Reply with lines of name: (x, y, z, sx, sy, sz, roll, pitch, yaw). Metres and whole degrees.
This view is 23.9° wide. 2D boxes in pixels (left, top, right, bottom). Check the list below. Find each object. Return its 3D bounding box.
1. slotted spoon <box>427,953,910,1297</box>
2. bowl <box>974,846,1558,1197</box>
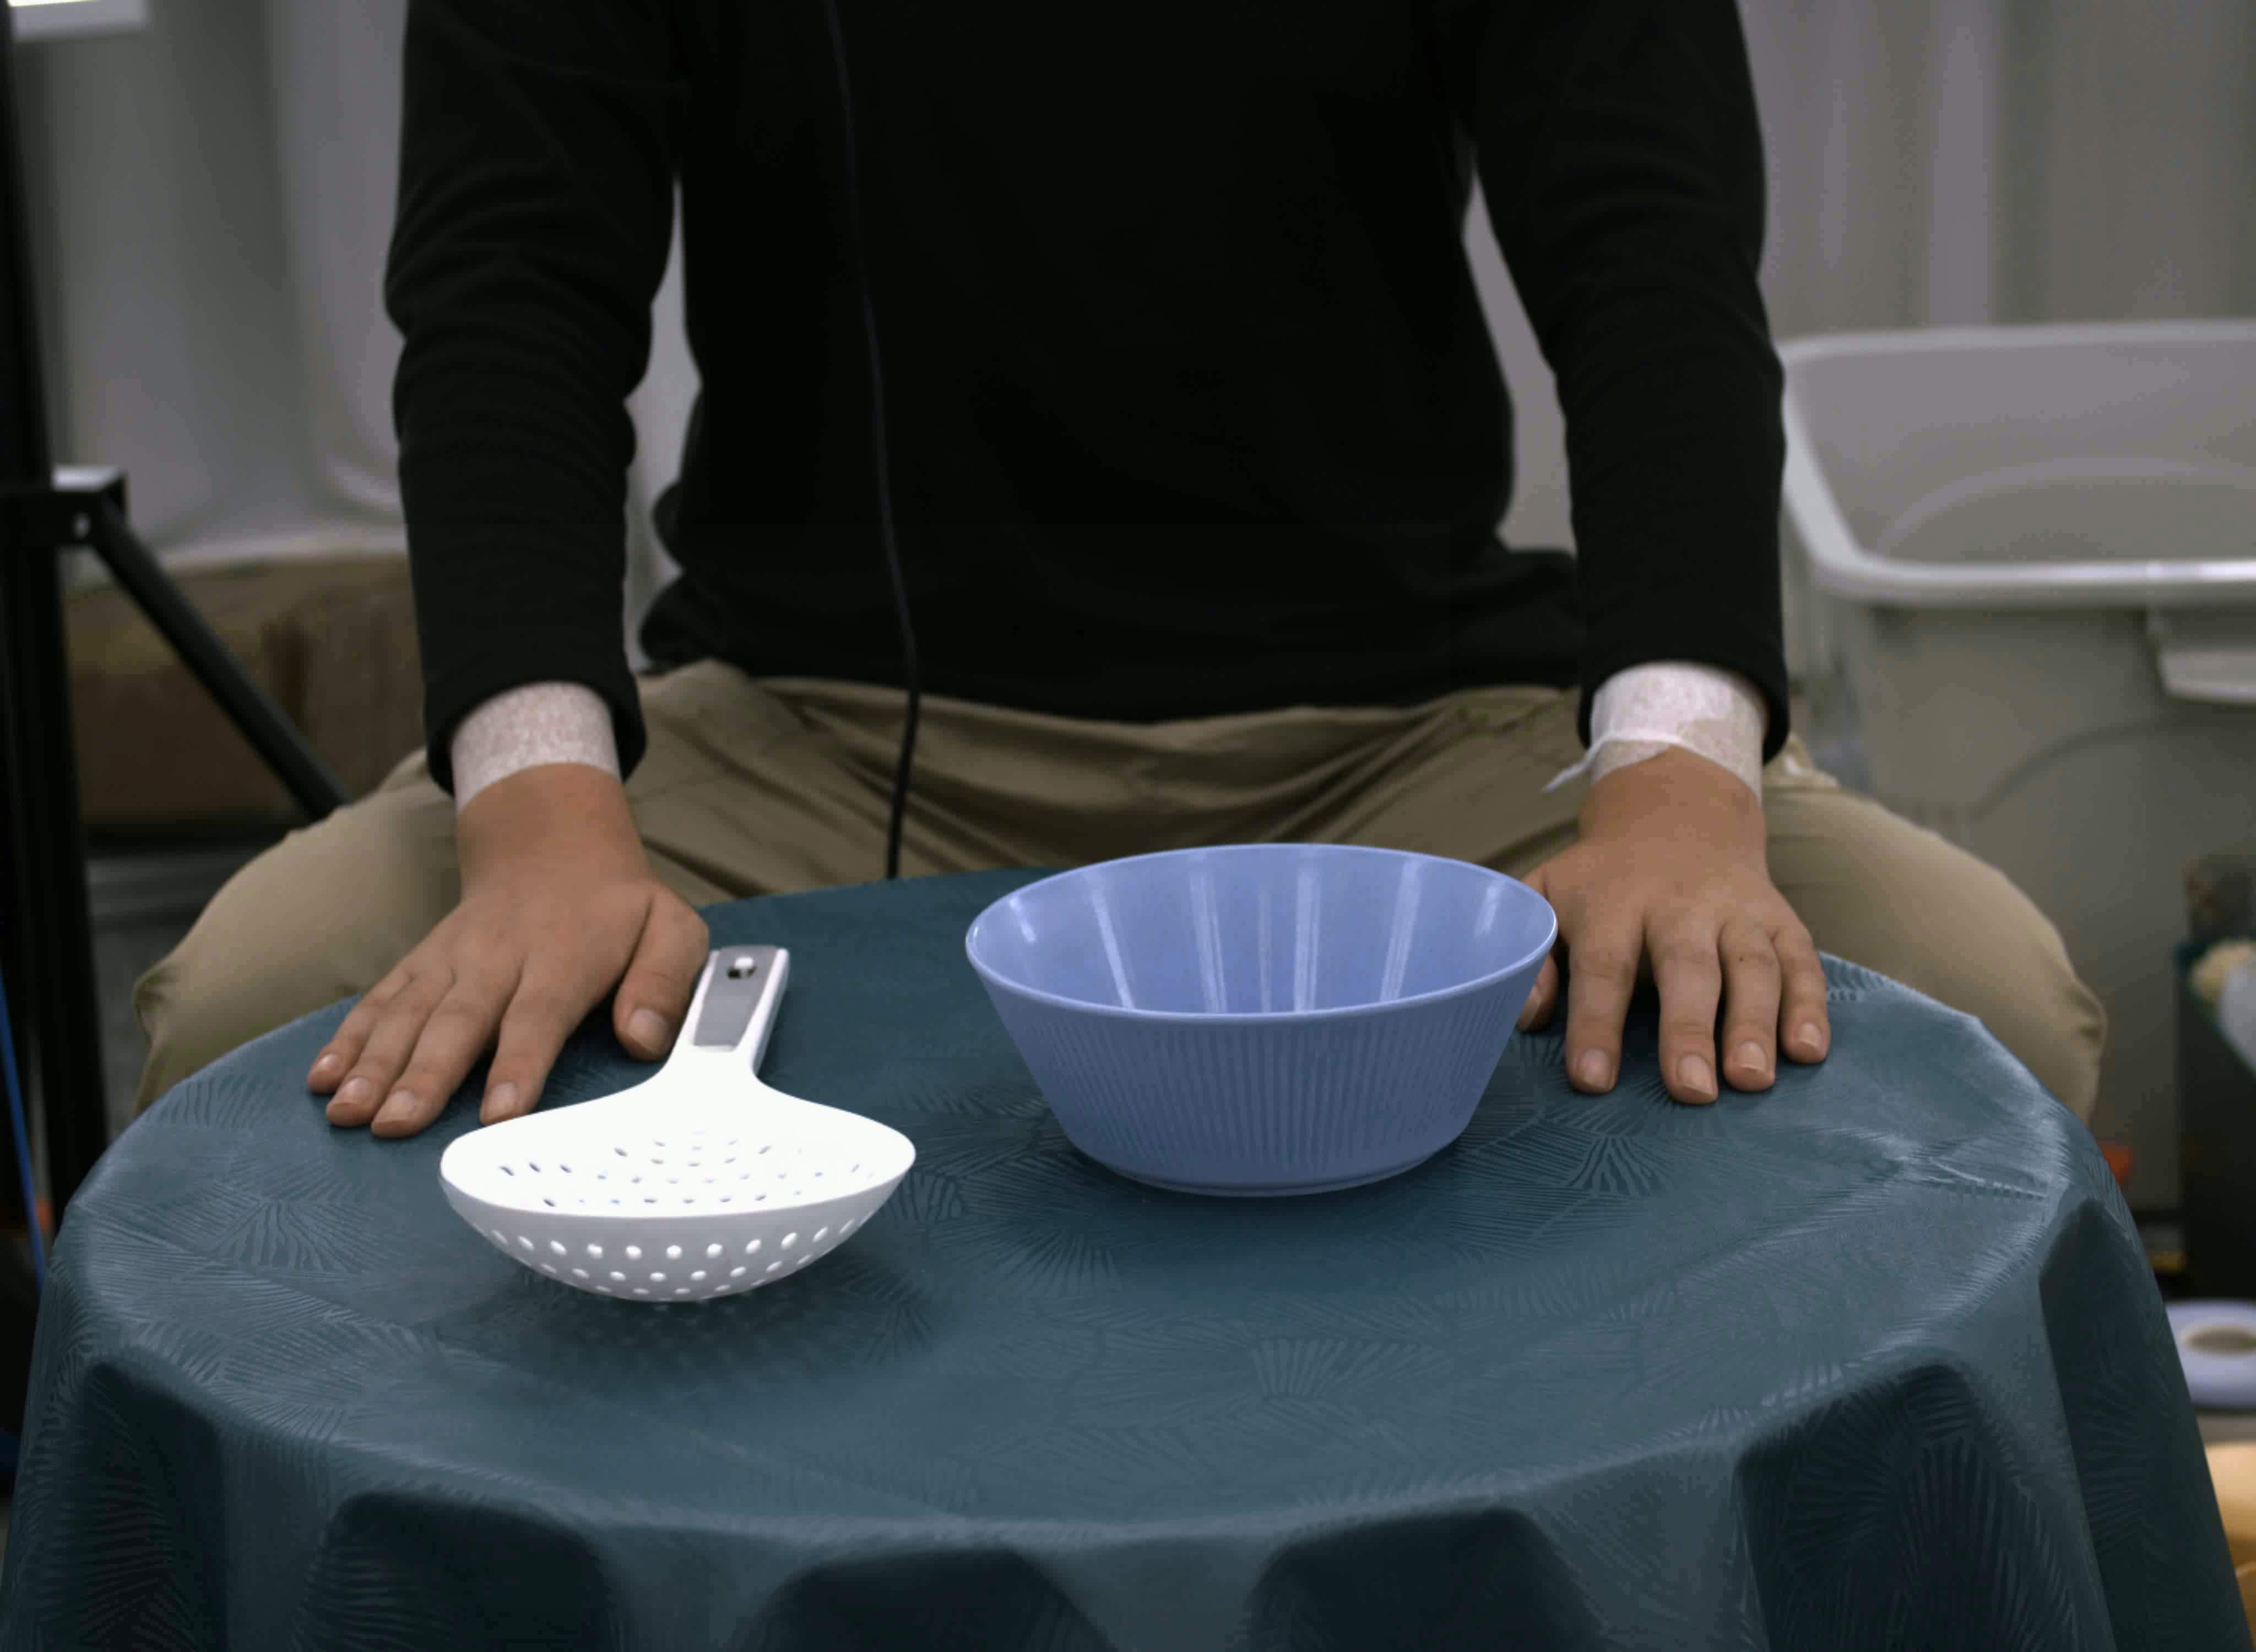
slotted spoon: (-0.128, 0.080, 1.595, 0.135, 0.046, 0.351, -2, 15, 1)
bowl: (0.042, 0.061, 1.590, 0.175, 0.070, 0.177, -2, 15, -1)
